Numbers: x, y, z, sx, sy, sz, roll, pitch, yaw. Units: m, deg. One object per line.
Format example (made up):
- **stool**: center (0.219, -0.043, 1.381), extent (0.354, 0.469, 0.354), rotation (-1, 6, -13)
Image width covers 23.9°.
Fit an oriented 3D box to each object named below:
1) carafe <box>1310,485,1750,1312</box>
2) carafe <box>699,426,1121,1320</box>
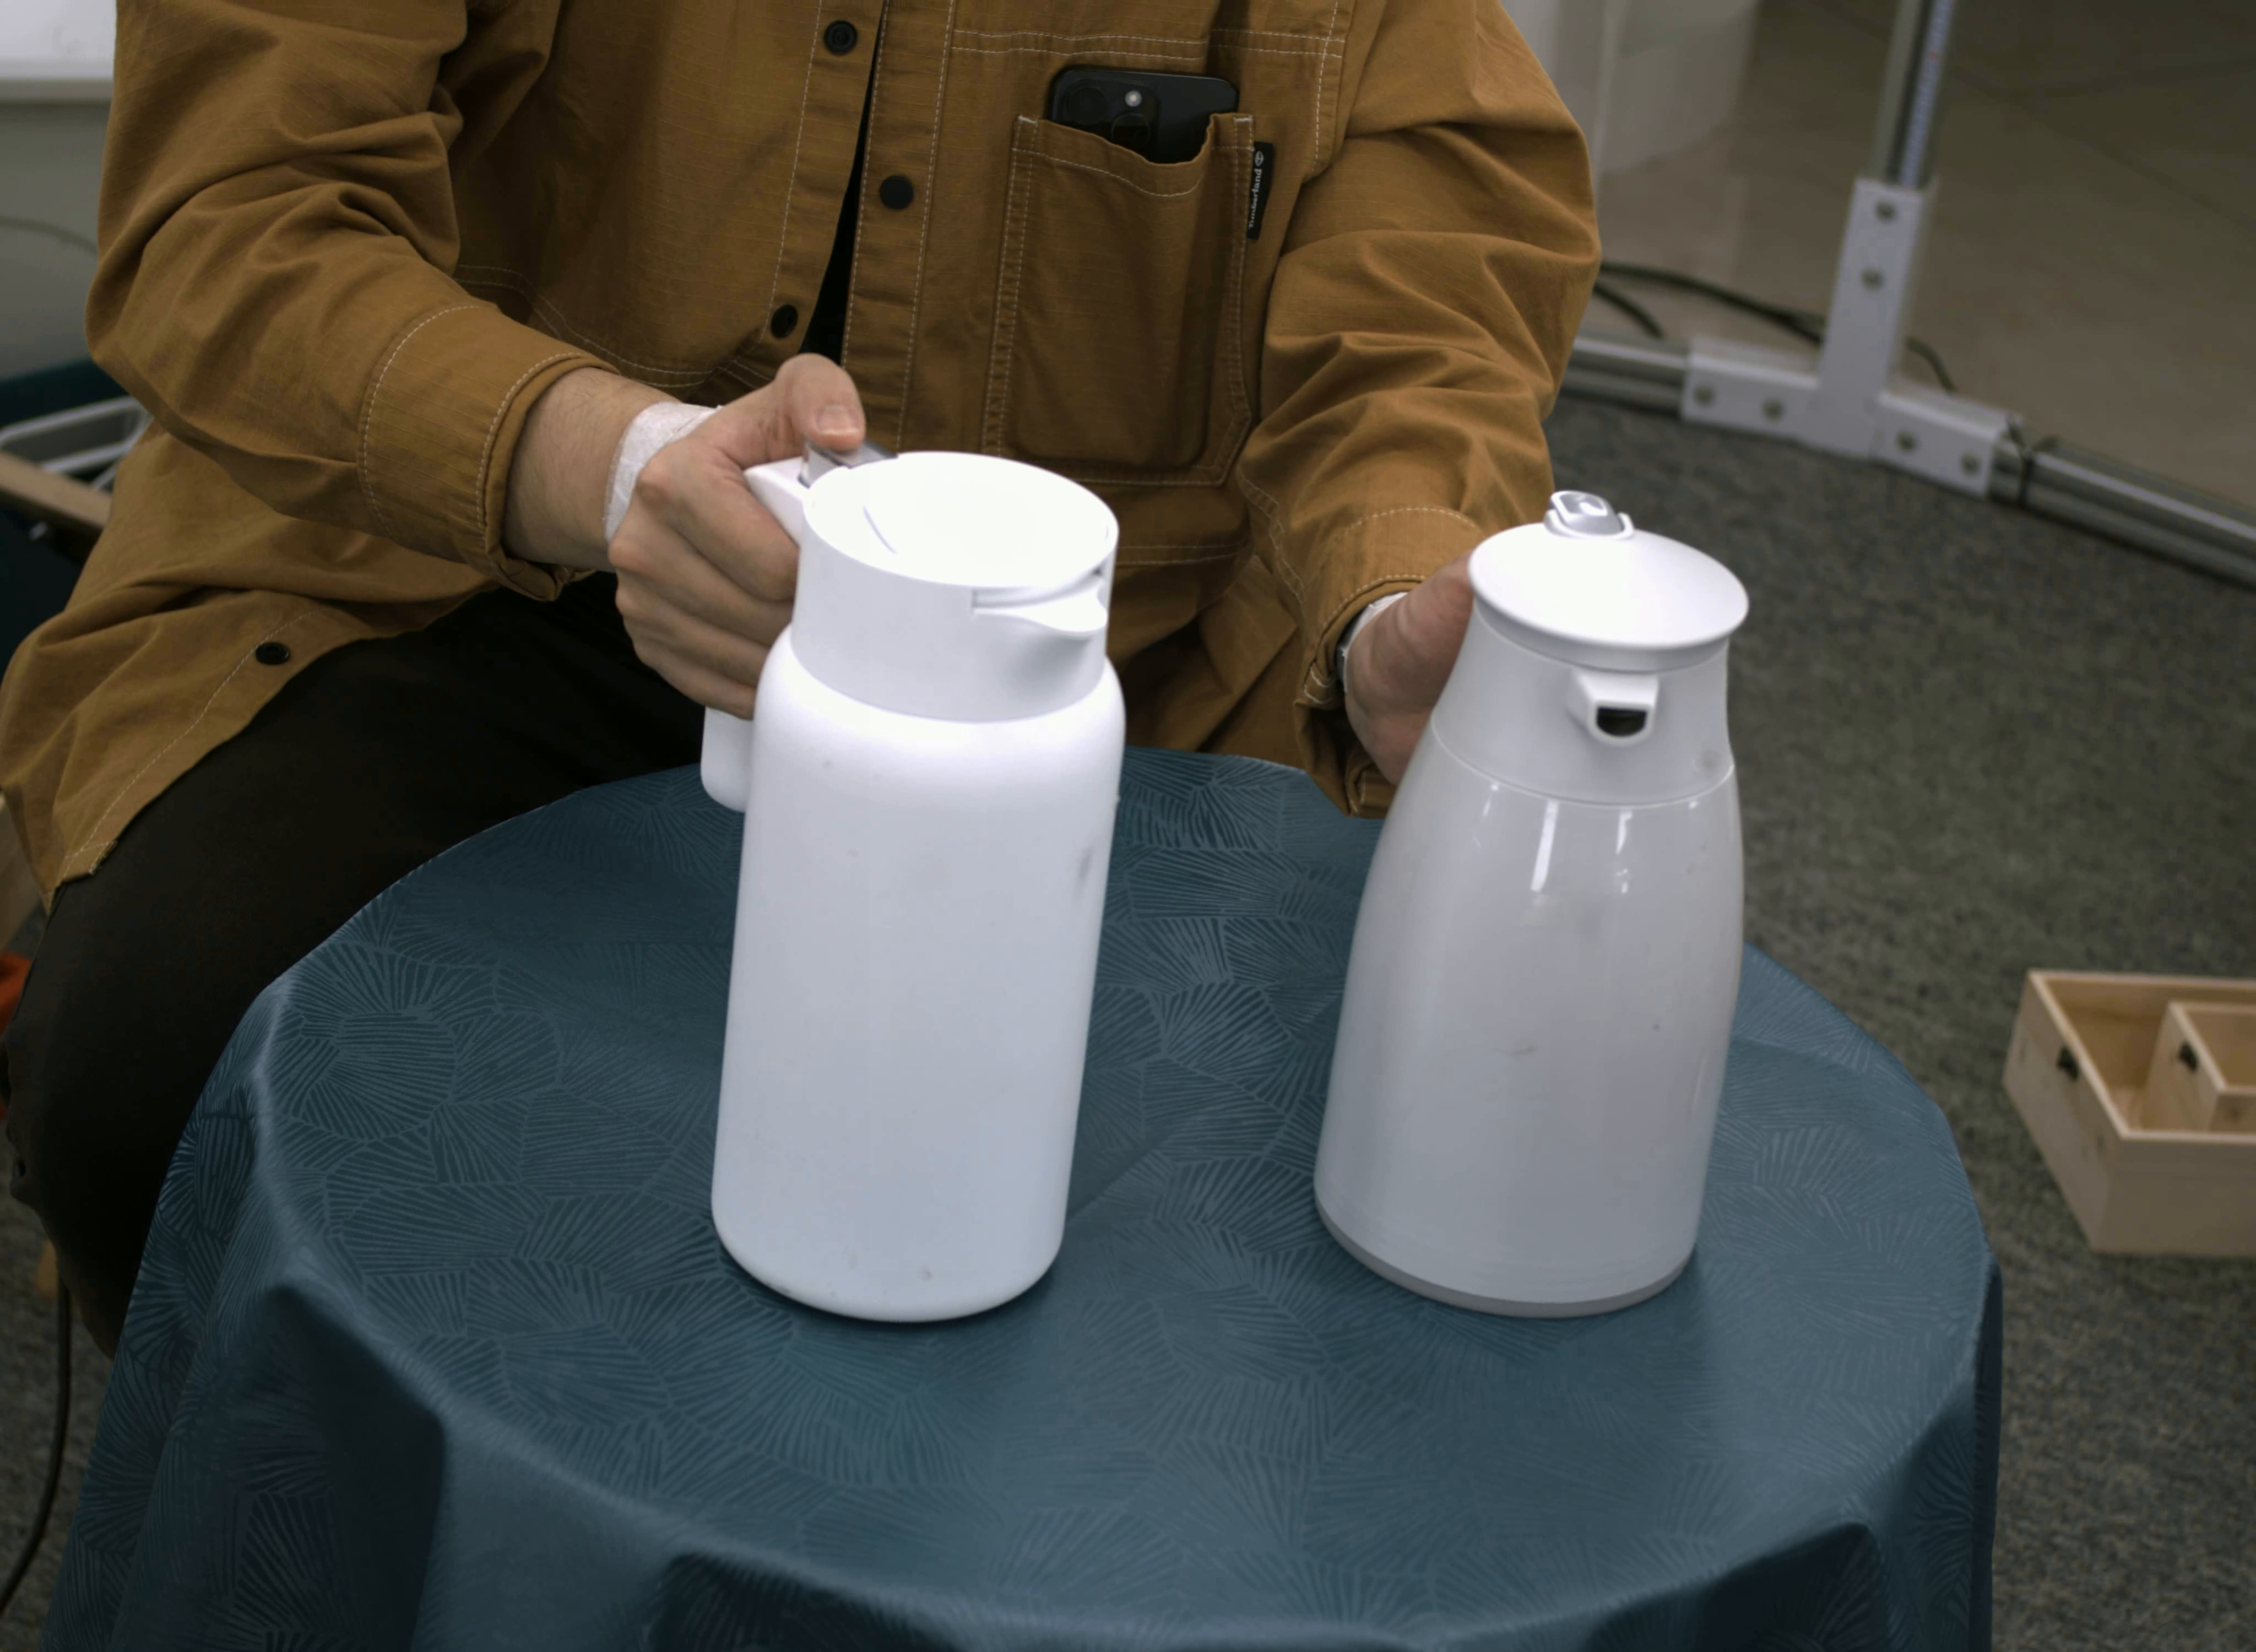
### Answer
- **carafe**: center (0.139, 0.013, 1.778), extent (0.132, 0.248, 0.169), rotation (4, 26, -5)
- **carafe**: center (-0.079, 0.012, 1.713), extent (0.123, 0.268, 0.174), rotation (-17, 35, -36)
